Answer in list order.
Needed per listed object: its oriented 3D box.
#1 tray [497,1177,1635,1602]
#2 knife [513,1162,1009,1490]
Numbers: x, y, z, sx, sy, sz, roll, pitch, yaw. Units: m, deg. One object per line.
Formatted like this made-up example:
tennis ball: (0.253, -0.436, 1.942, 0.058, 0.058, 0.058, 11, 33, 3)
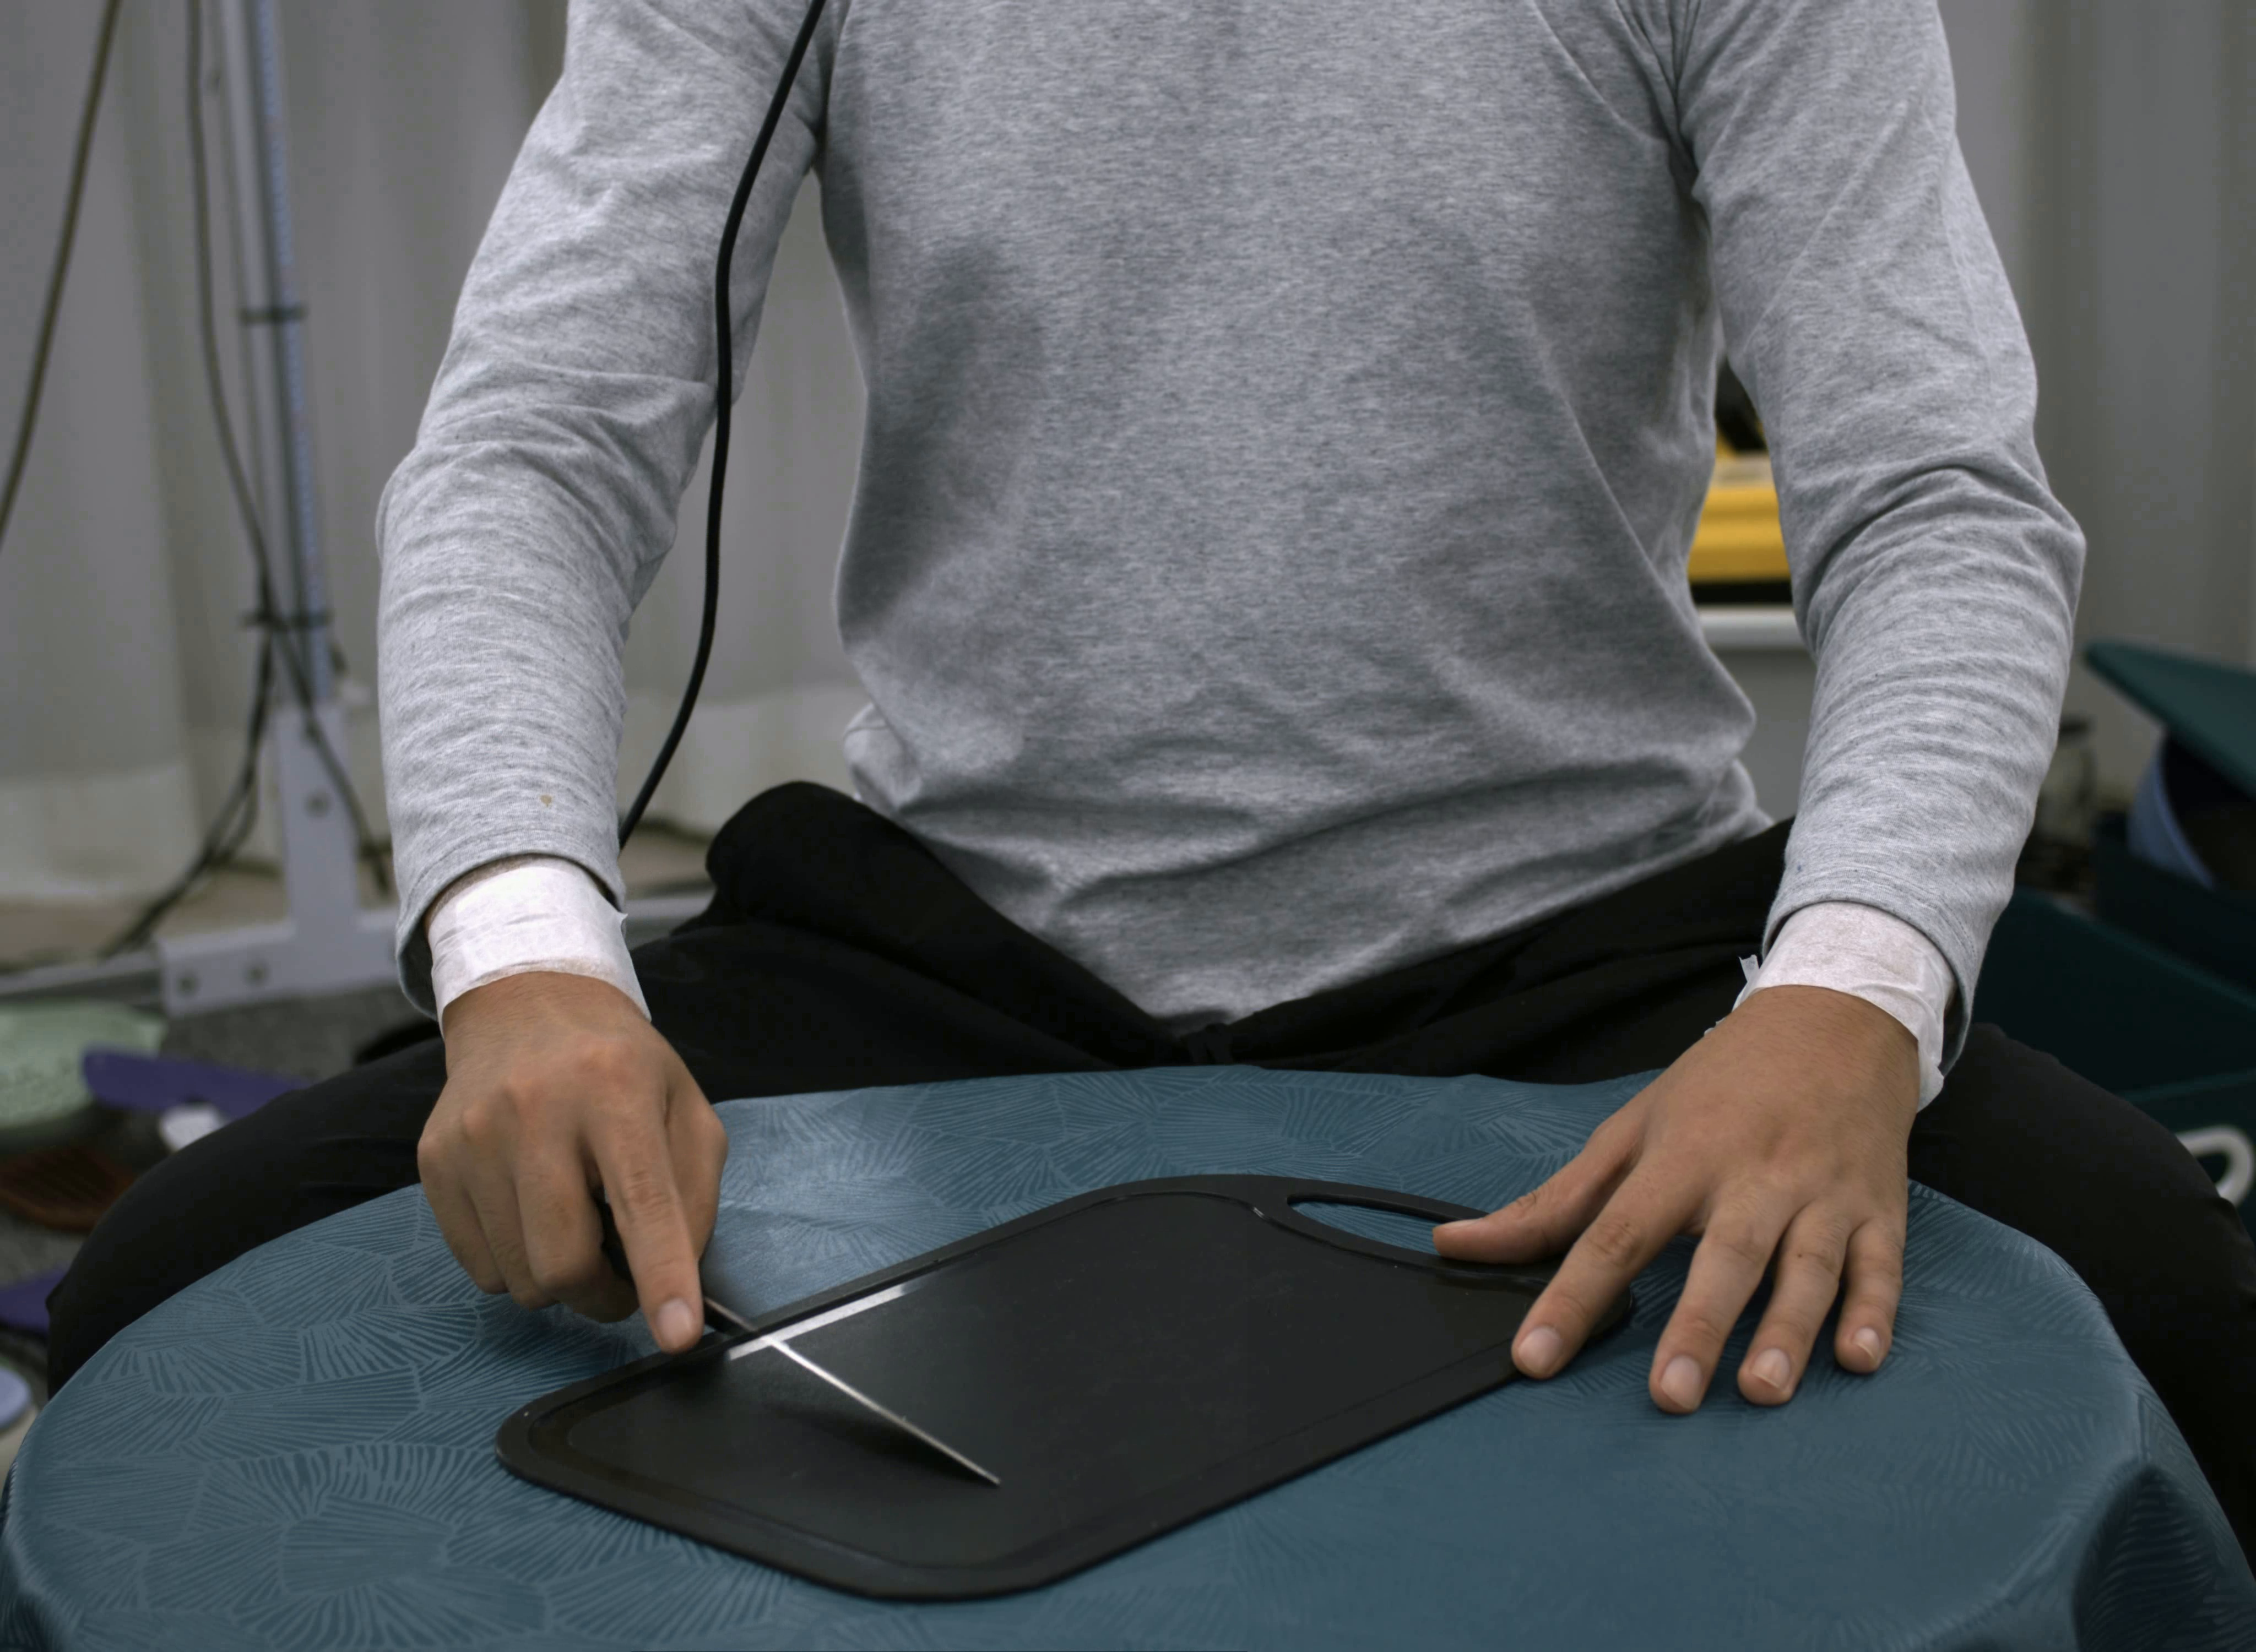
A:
tray: (-0.009, 0.152, 1.567, 0.212, 0.010, 0.325, 12, 21, 43)
knife: (-0.108, 0.143, 1.561, 0.024, 0.016, 0.240, 28, -1, -44)
